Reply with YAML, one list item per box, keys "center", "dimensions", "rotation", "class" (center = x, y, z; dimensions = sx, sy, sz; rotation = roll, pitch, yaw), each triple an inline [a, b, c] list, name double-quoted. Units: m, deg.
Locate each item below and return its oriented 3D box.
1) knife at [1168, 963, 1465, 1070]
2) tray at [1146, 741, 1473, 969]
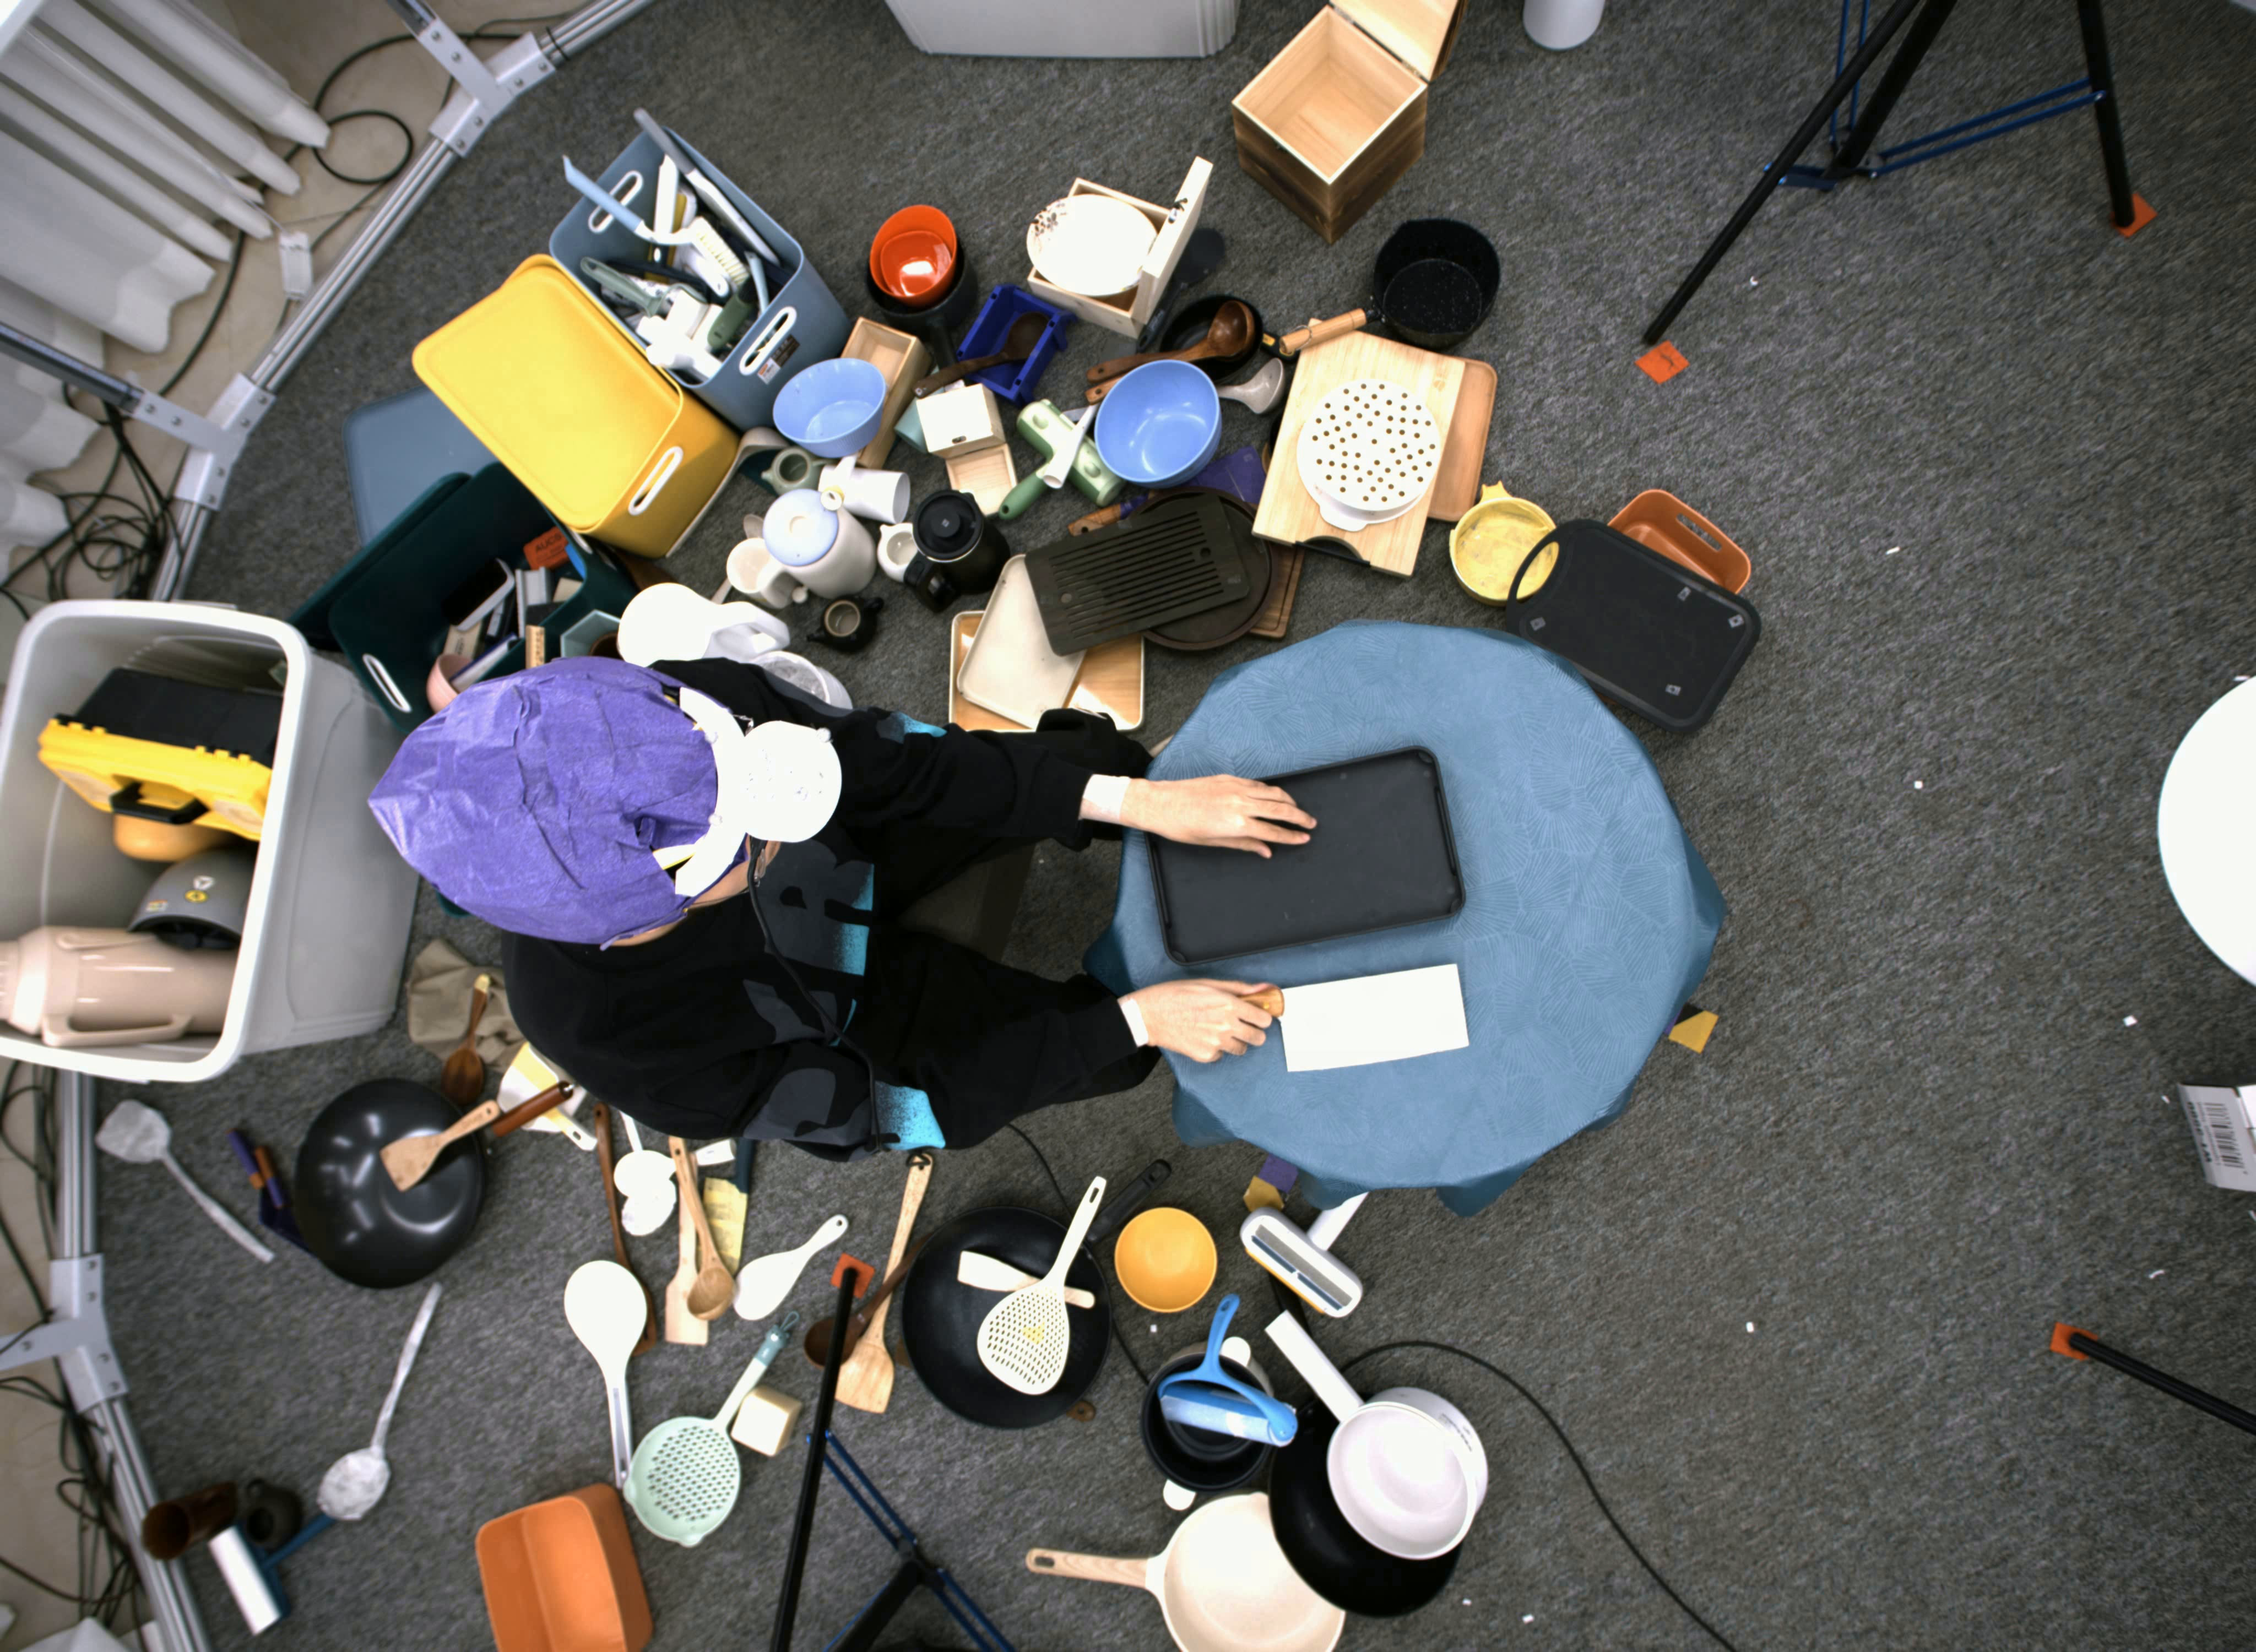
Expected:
- center: [0.198, 0.207, 1.454]
  dimensions: [0.307, 0.021, 0.093]
  rotation: [-9, 98, 10]
  class: "knife"
- center: [0.189, 0.031, 1.459]
  dimensions: [0.320, 0.037, 0.183]
  rotation: [-13, 85, 10]
  class: "tray"
